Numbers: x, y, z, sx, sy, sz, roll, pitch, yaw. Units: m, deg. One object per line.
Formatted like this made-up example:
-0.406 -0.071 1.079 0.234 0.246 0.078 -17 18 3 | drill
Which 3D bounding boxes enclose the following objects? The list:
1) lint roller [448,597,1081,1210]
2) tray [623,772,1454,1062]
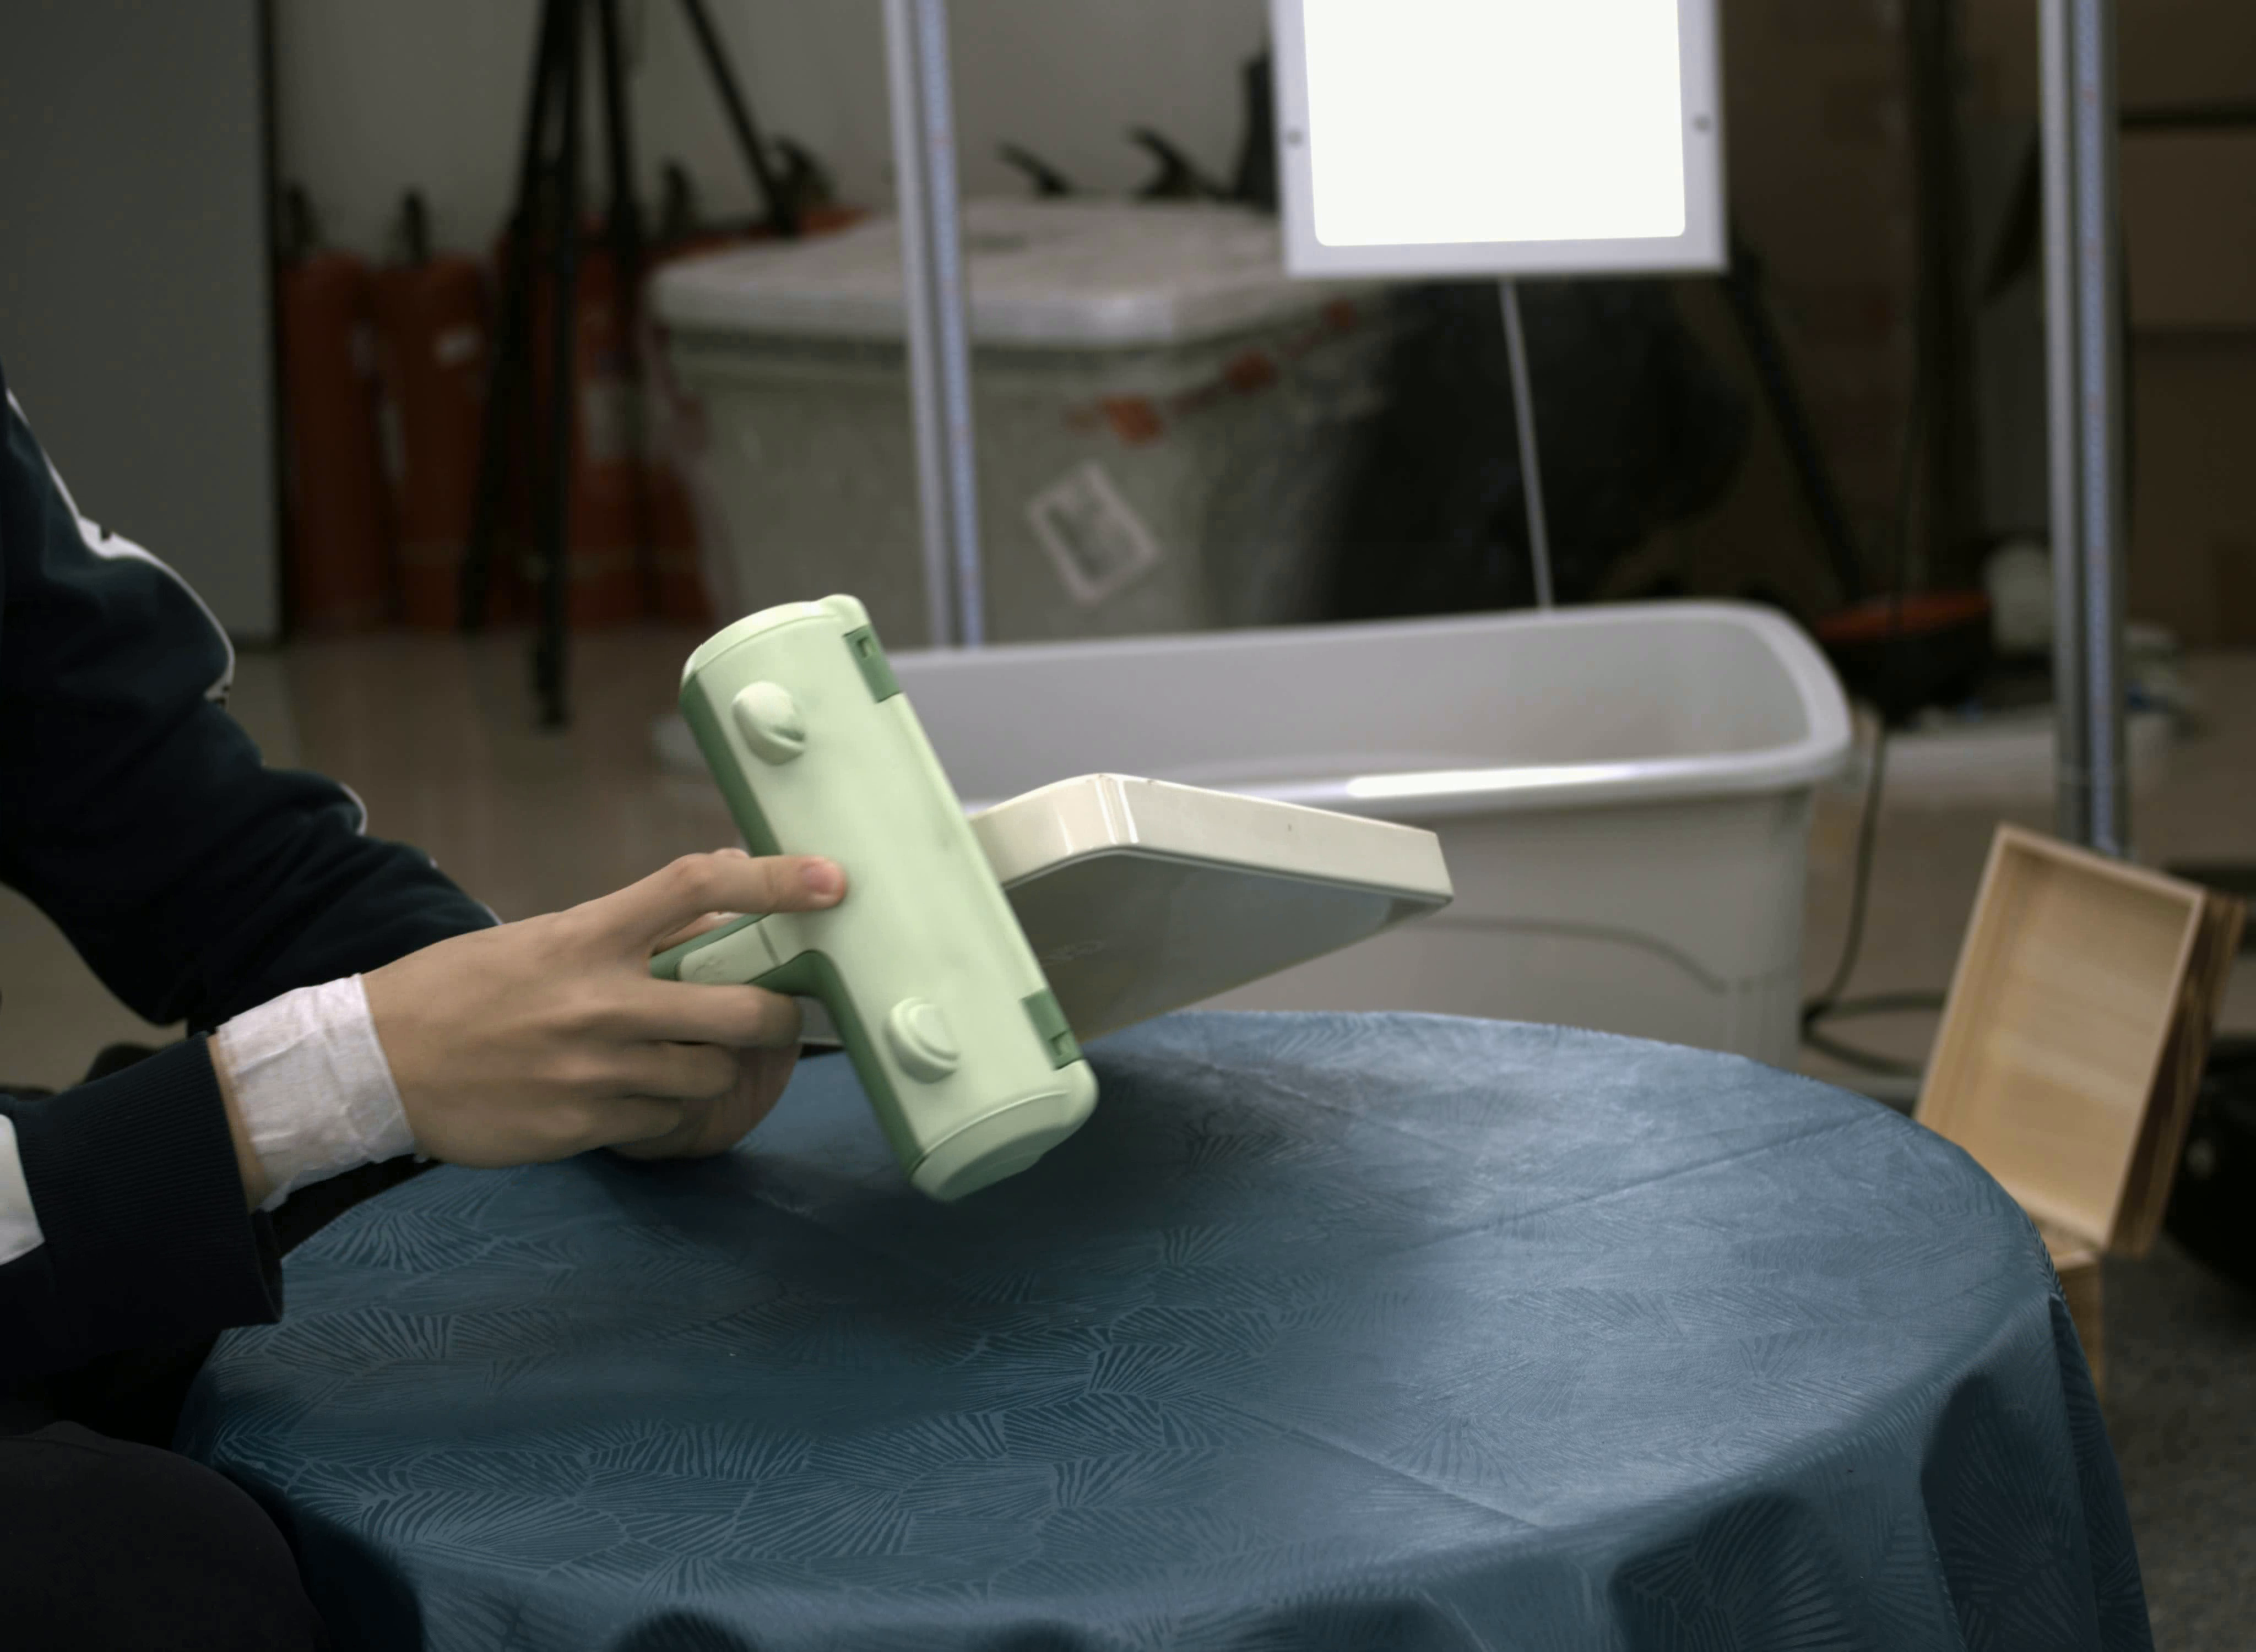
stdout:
-0.134 0.045 1.733 0.182 0.199 0.082 -25 -18 -3 | lint roller
-0.024 0.037 1.905 0.195 0.027 0.294 -22 -14 25 | tray
